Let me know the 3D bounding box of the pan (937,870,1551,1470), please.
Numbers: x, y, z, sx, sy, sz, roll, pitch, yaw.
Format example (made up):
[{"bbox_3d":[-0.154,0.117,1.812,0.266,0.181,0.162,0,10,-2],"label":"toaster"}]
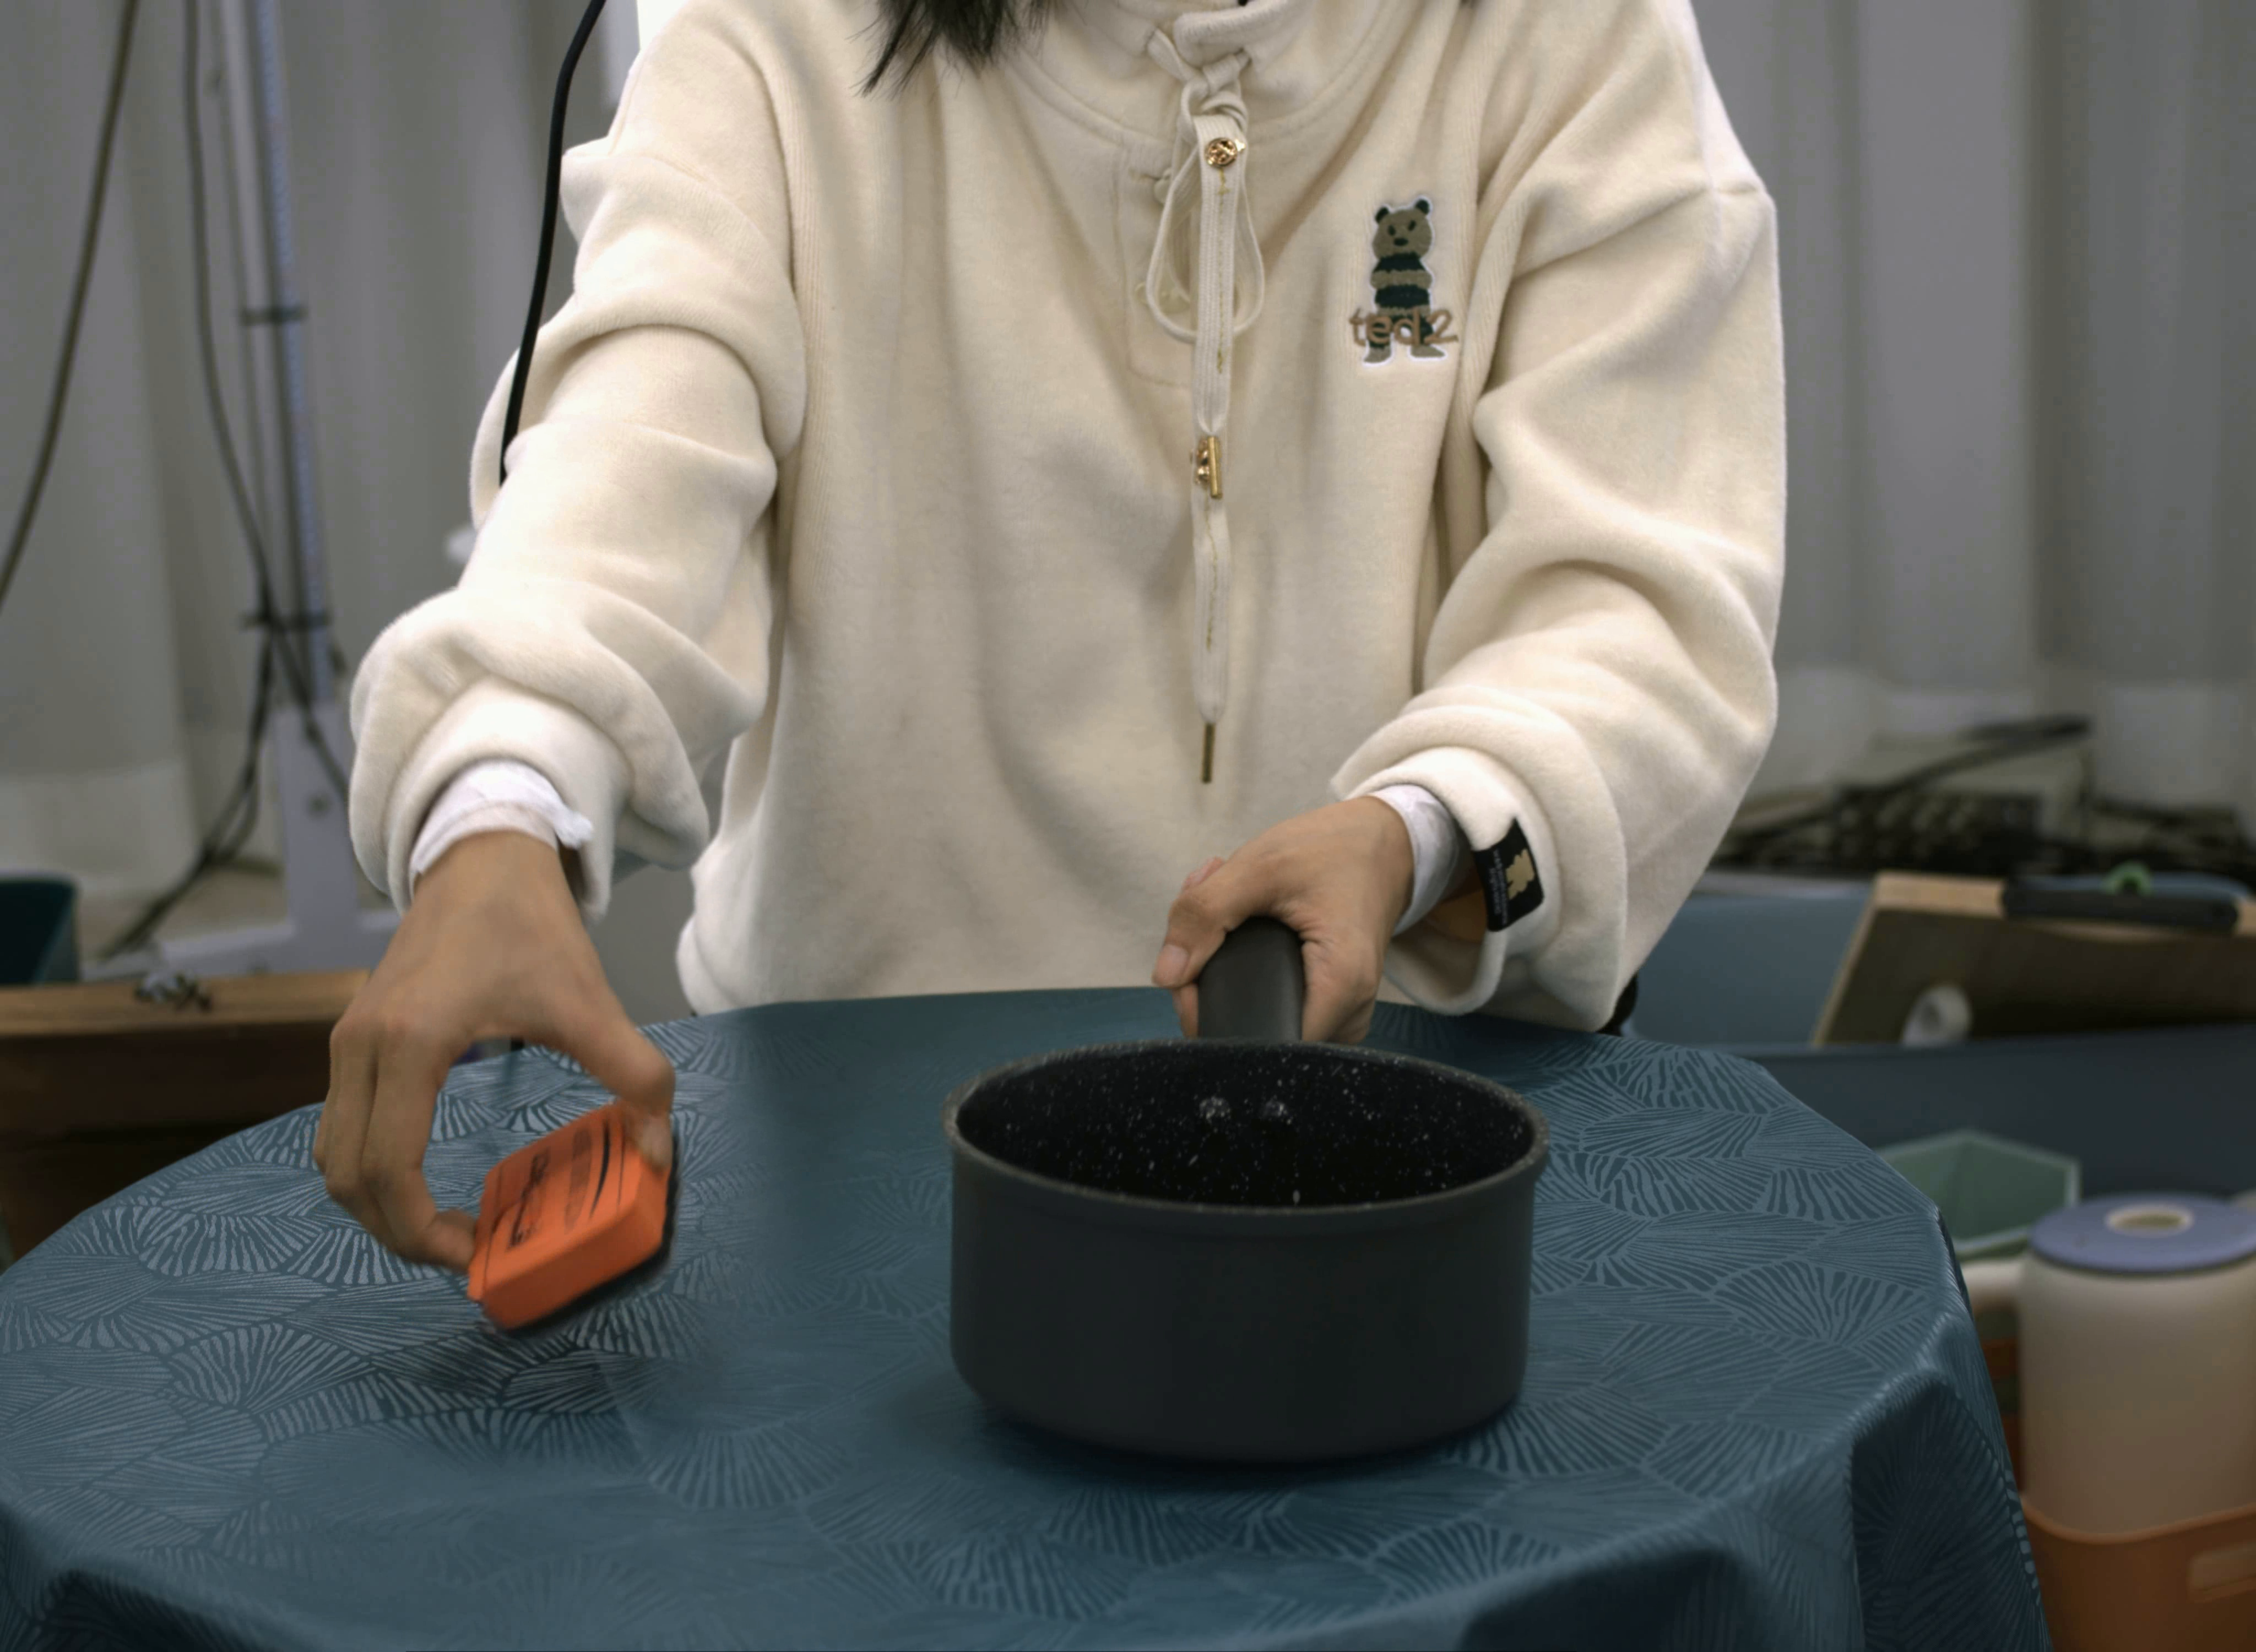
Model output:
[{"bbox_3d":[0.037,0.097,1.606,0.171,0.086,0.331,2,15,4],"label":"pan"}]

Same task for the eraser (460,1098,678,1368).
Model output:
[{"bbox_3d":[-0.161,0.117,1.586,0.059,0.023,0.109,-29,16,6],"label":"eraser"}]
